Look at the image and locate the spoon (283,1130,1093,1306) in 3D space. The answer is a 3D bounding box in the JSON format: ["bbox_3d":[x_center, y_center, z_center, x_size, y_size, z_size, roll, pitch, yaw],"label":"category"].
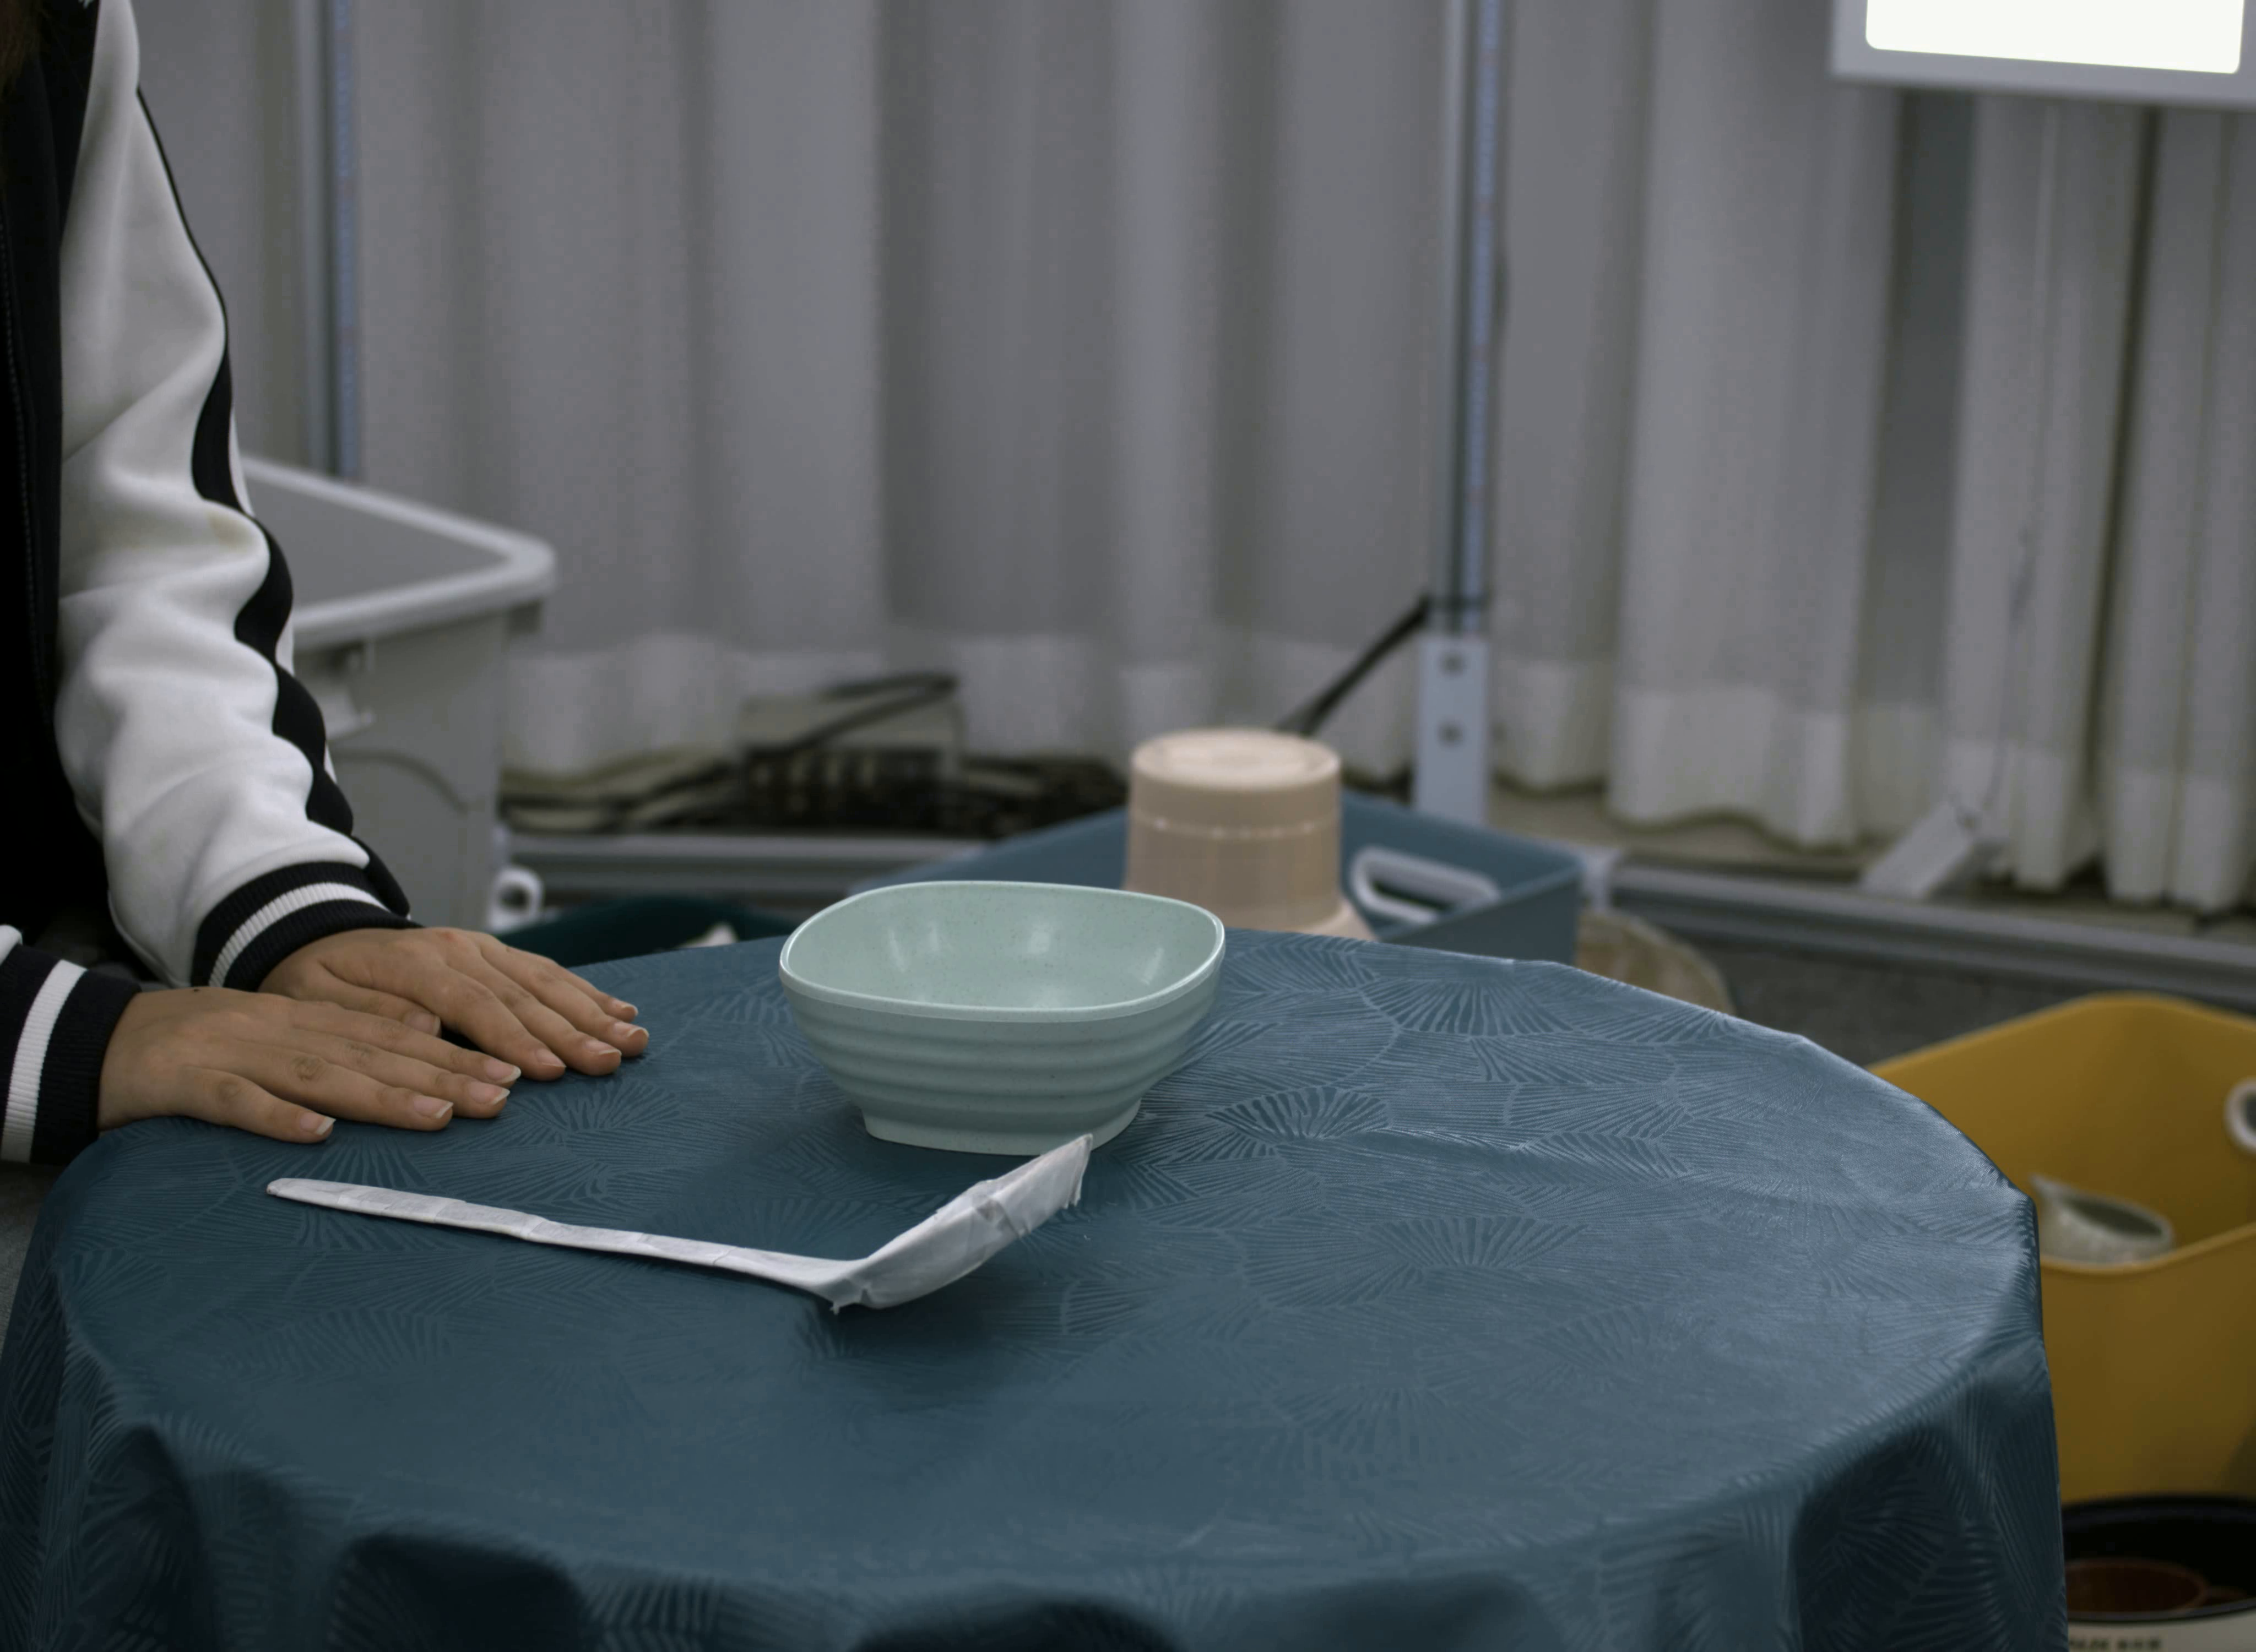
[{"bbox_3d":[-0.136,0.098,1.561,0.274,0.060,0.101,9,13,28],"label":"spoon"}]

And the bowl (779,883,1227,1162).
[{"bbox_3d":[-0.039,0.066,1.686,0.151,0.059,0.150,1,16,0],"label":"bowl"}]
